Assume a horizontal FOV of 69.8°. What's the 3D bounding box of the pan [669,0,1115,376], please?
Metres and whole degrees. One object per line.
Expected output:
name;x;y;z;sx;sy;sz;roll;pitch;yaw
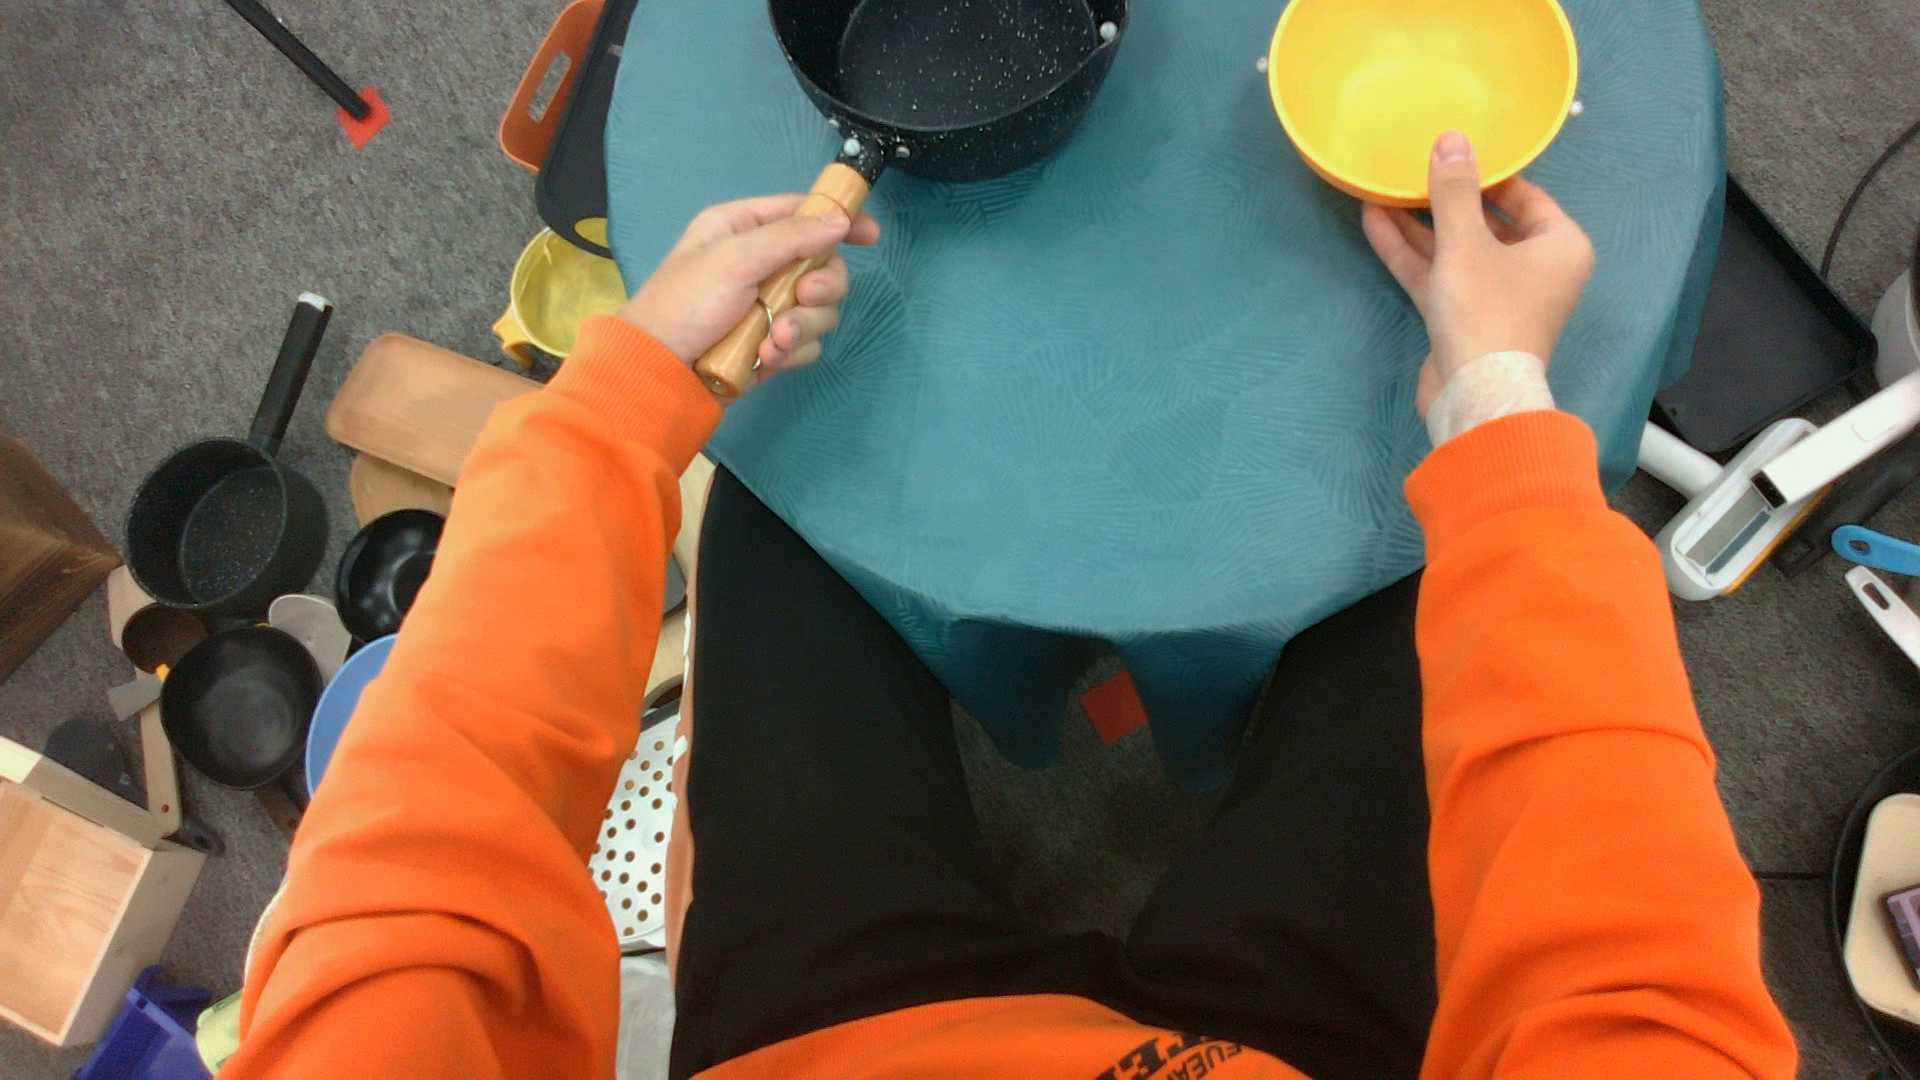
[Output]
pan;-0.045;-0.219;0.709;0.207;0.108;0.343;23;79;11

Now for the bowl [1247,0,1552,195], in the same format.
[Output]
bowl;0.219;-0.233;0.703;0.145;0.060;0.145;-2;76;8
